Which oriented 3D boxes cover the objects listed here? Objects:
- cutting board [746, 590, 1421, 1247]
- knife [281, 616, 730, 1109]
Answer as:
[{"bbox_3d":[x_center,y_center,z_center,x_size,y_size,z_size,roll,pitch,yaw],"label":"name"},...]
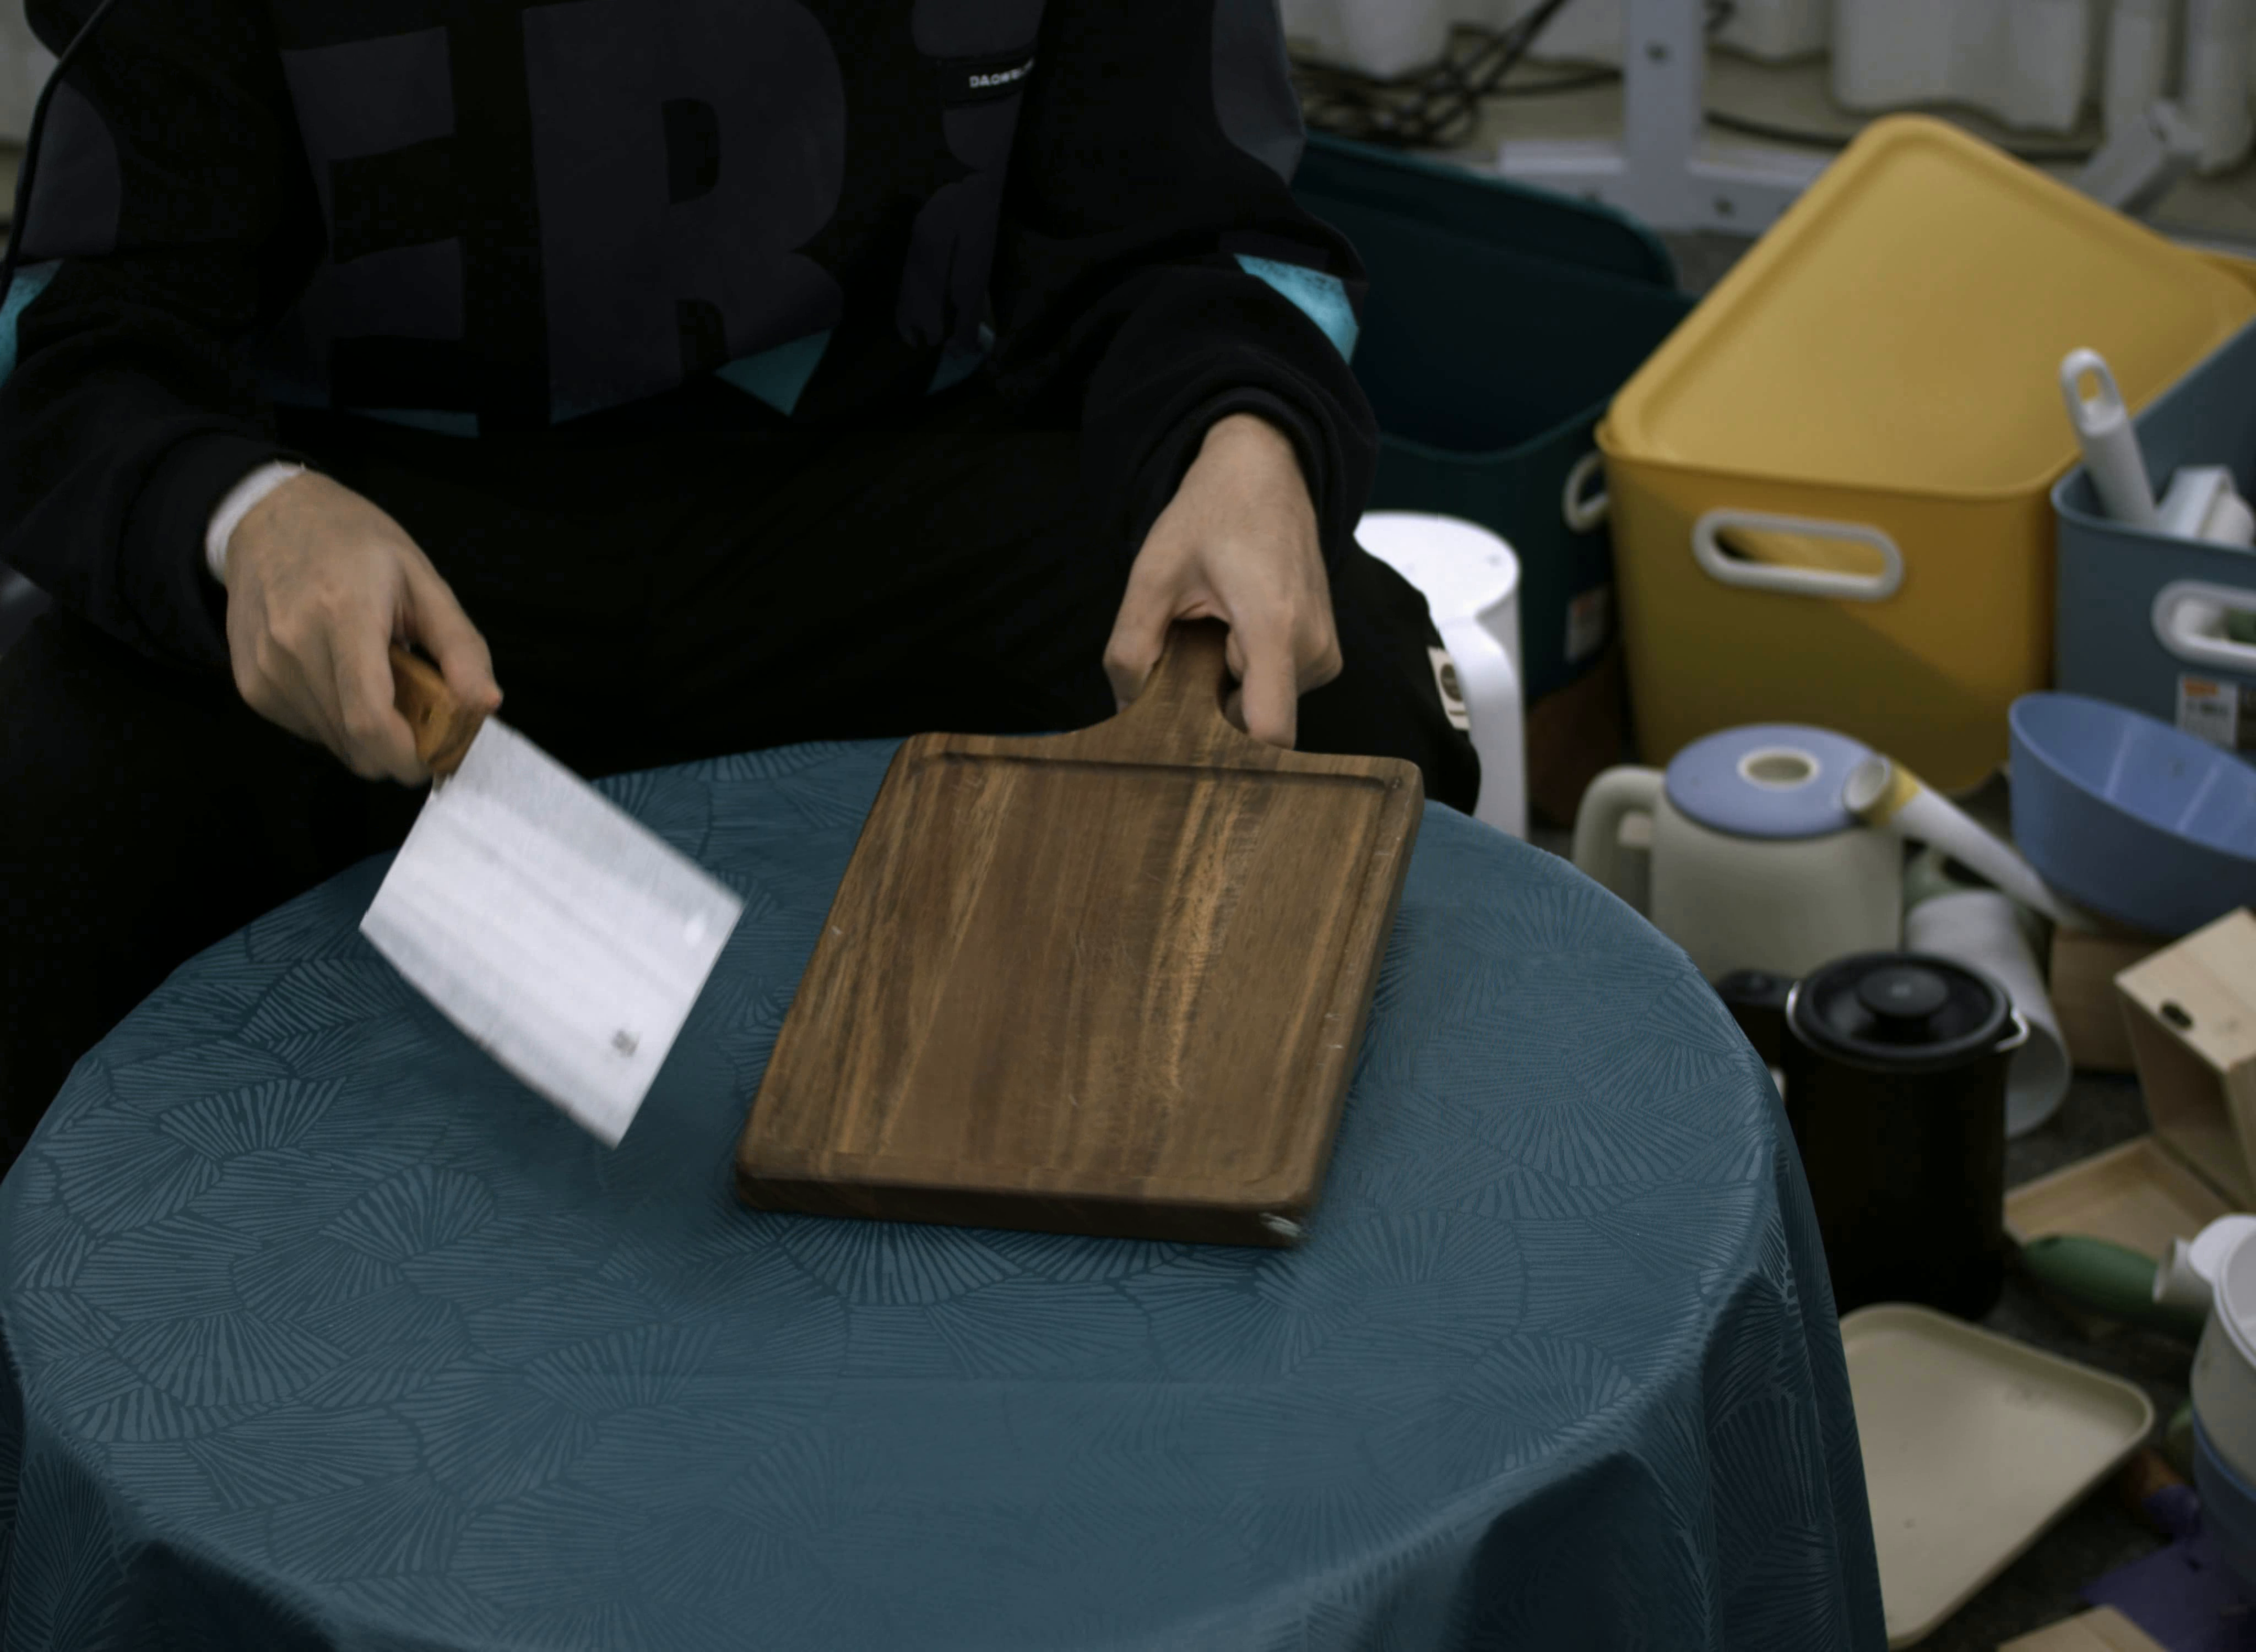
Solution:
[{"bbox_3d":[-0.002,0.023,1.975,0.200,0.023,0.359,3,36,11],"label":"cutting board"},{"bbox_3d":[-0.227,0.013,1.923,0.021,0.093,0.307,26,5,-40],"label":"knife"}]
